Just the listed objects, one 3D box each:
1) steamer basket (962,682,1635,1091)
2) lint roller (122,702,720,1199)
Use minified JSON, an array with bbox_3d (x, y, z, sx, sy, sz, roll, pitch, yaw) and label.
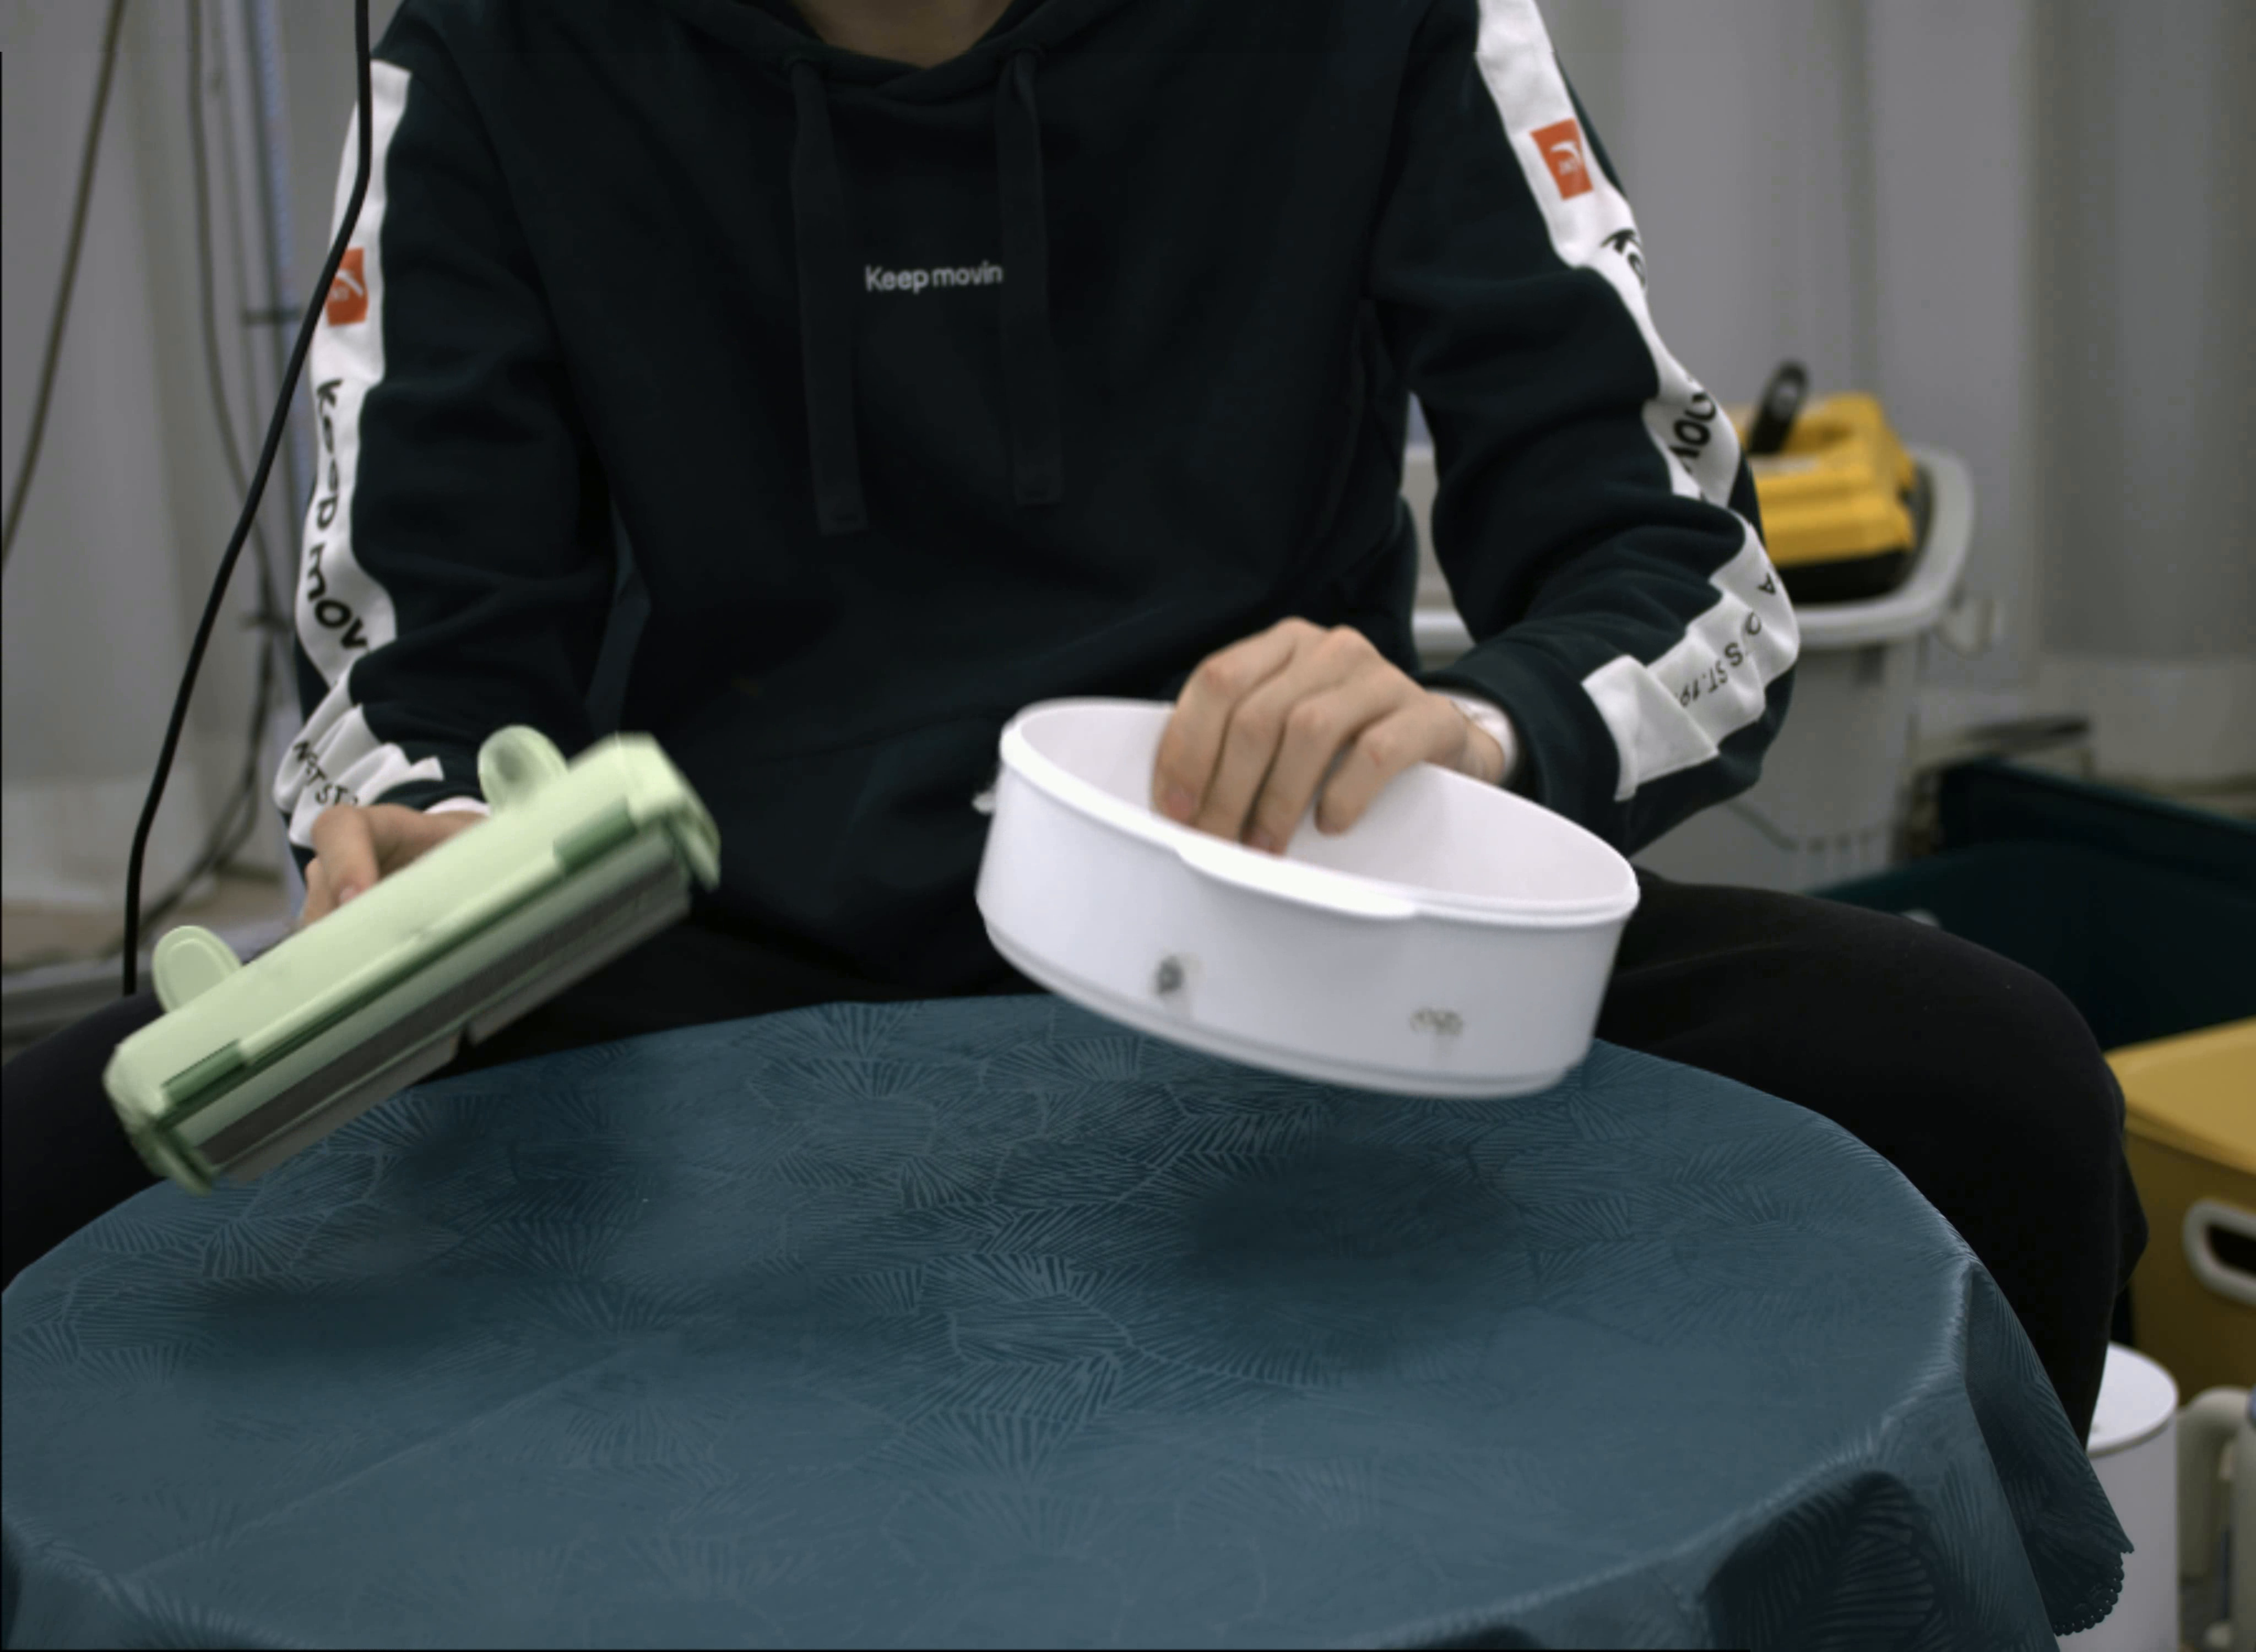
[{"bbox_3d":[0.050,0.019,1.666,0.201,0.069,0.231,15,14,3],"label":"steamer basket"},{"bbox_3d":[-0.227,0.025,1.715,0.198,0.082,0.184,-36,12,-4],"label":"lint roller"}]
